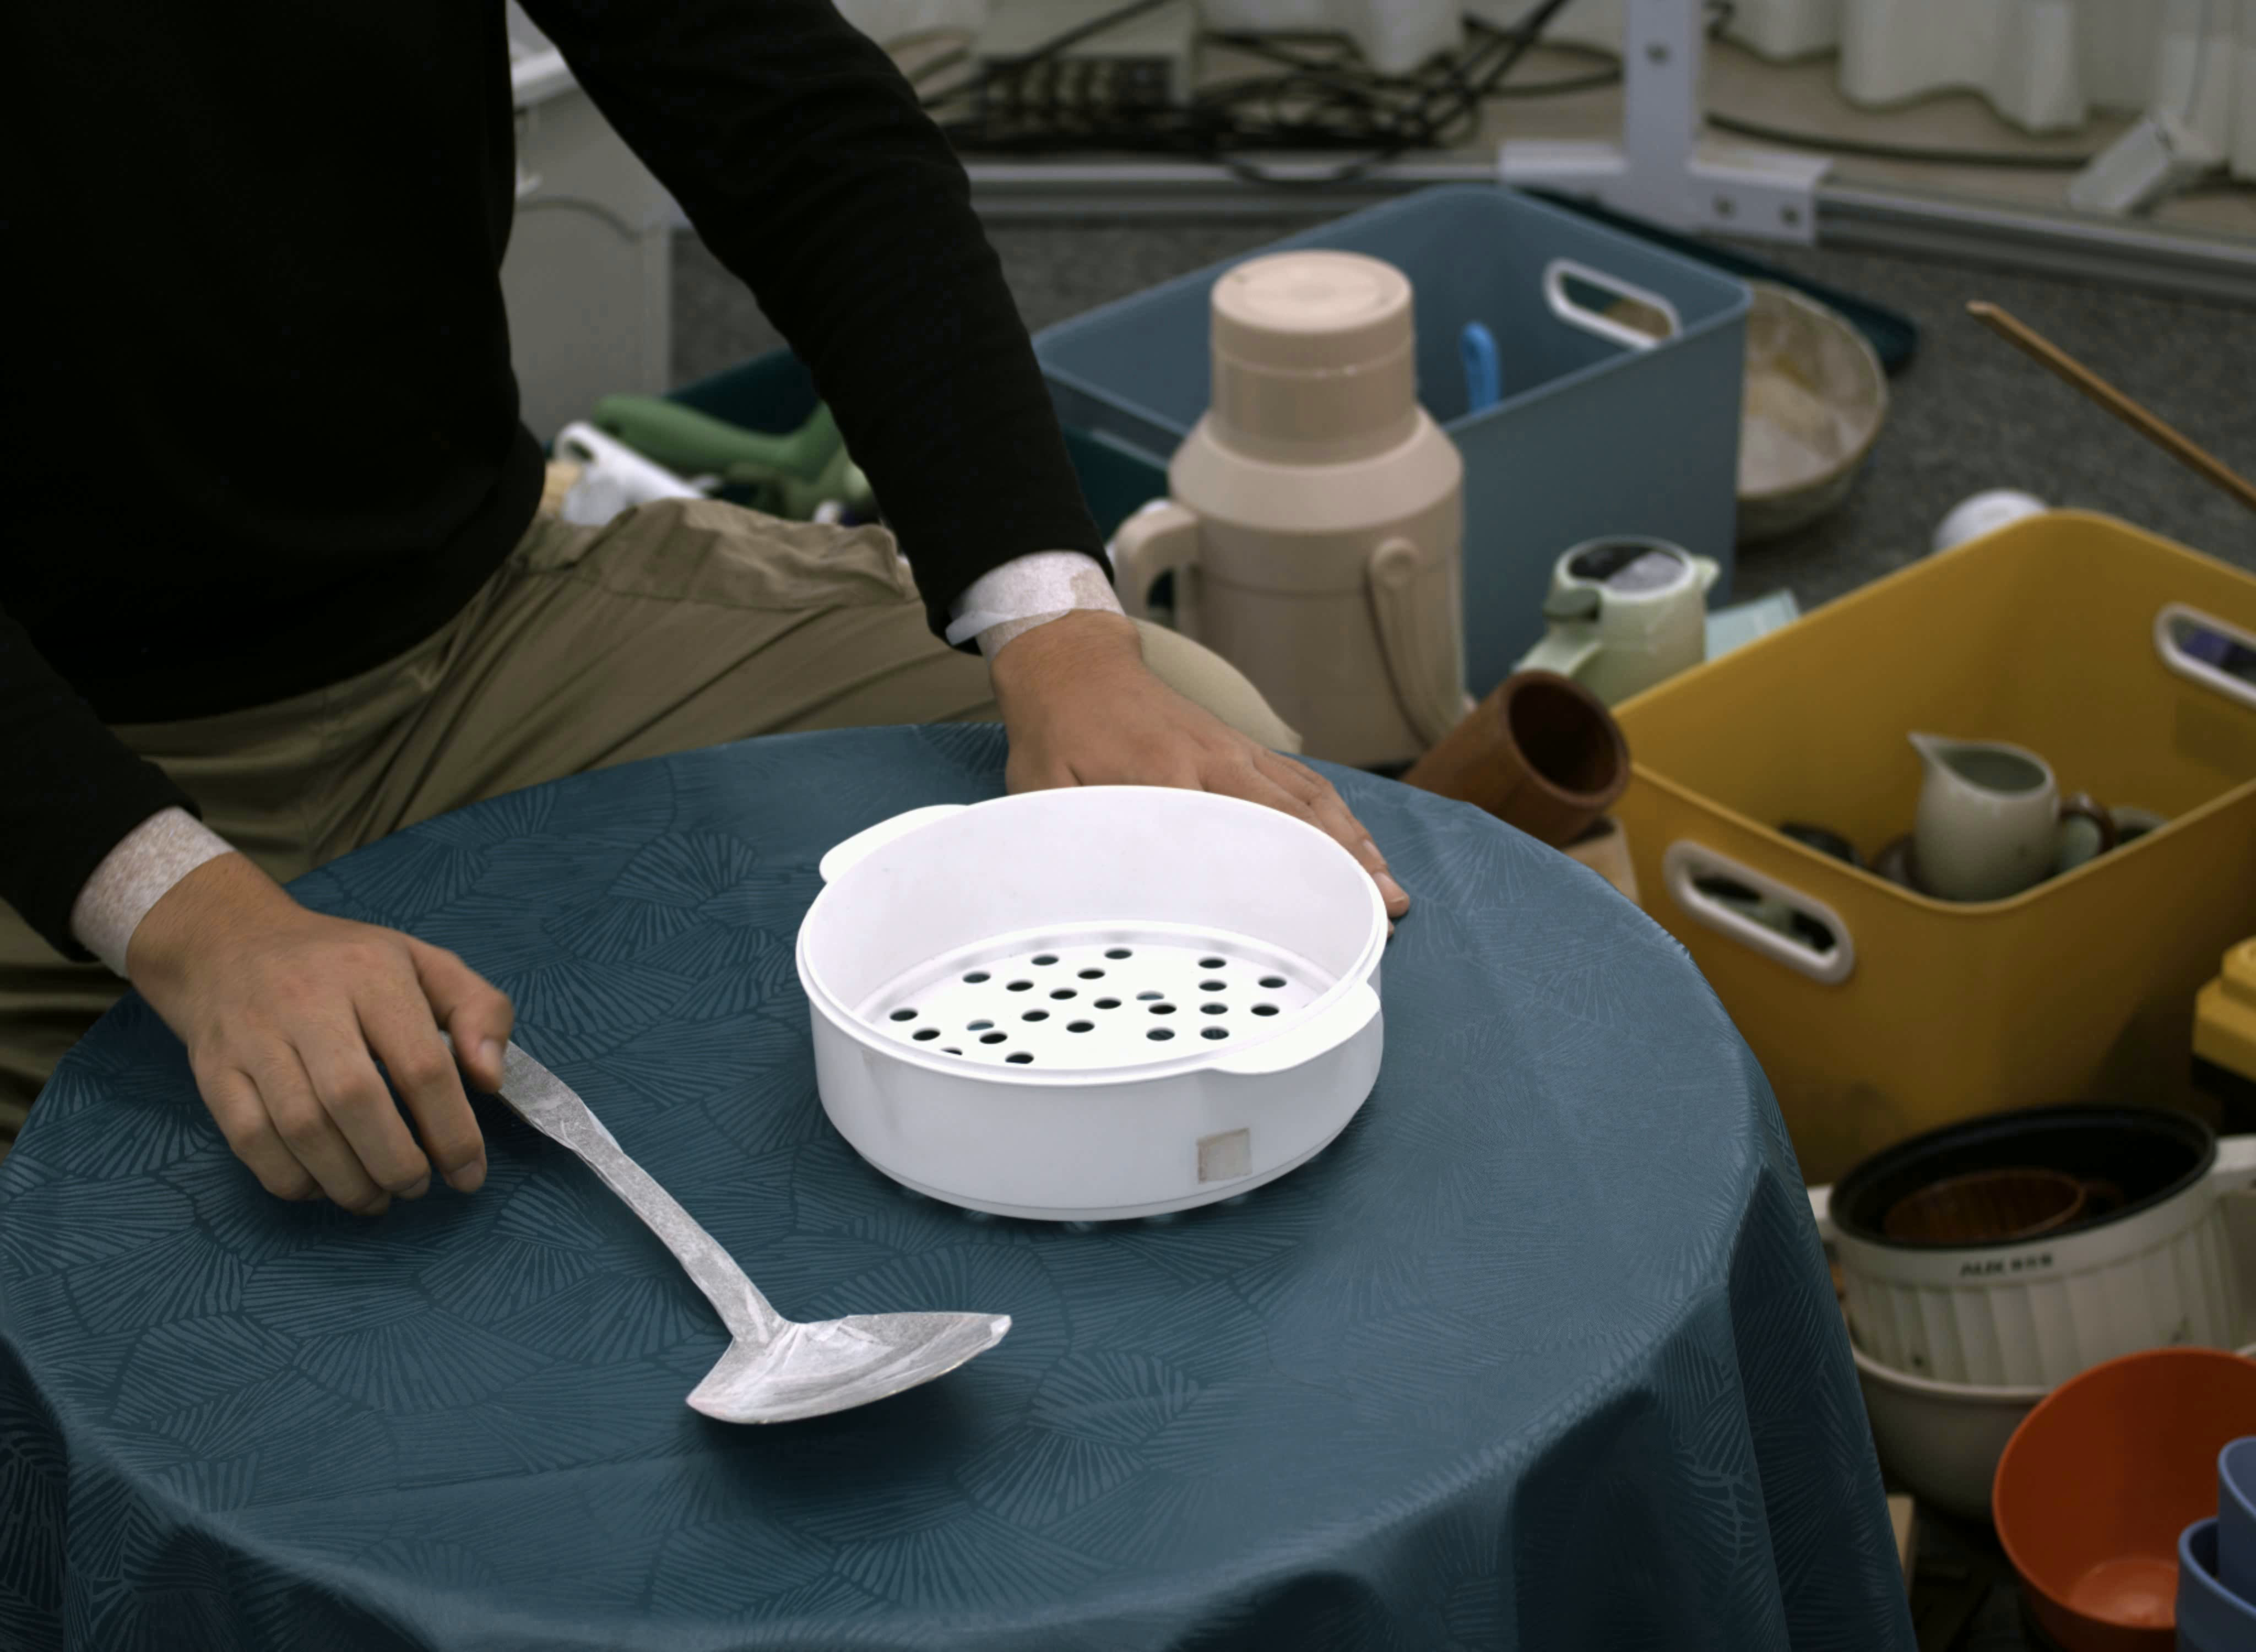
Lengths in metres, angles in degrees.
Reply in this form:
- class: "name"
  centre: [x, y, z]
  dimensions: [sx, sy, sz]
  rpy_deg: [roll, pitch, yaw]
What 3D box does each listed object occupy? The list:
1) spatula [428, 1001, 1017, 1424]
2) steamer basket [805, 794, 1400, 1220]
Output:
- class: "spatula"
  centre: [-0.157, 0.117, 1.844]
  dimensions: [0.099, 0.044, 0.366]
  rpy_deg: [-20, 32, -24]
- class: "steamer basket"
  centre: [-0.007, 0.061, 1.903]
  dimensions: [0.204, 0.068, 0.230]
  rpy_deg: [-24, 33, -37]
